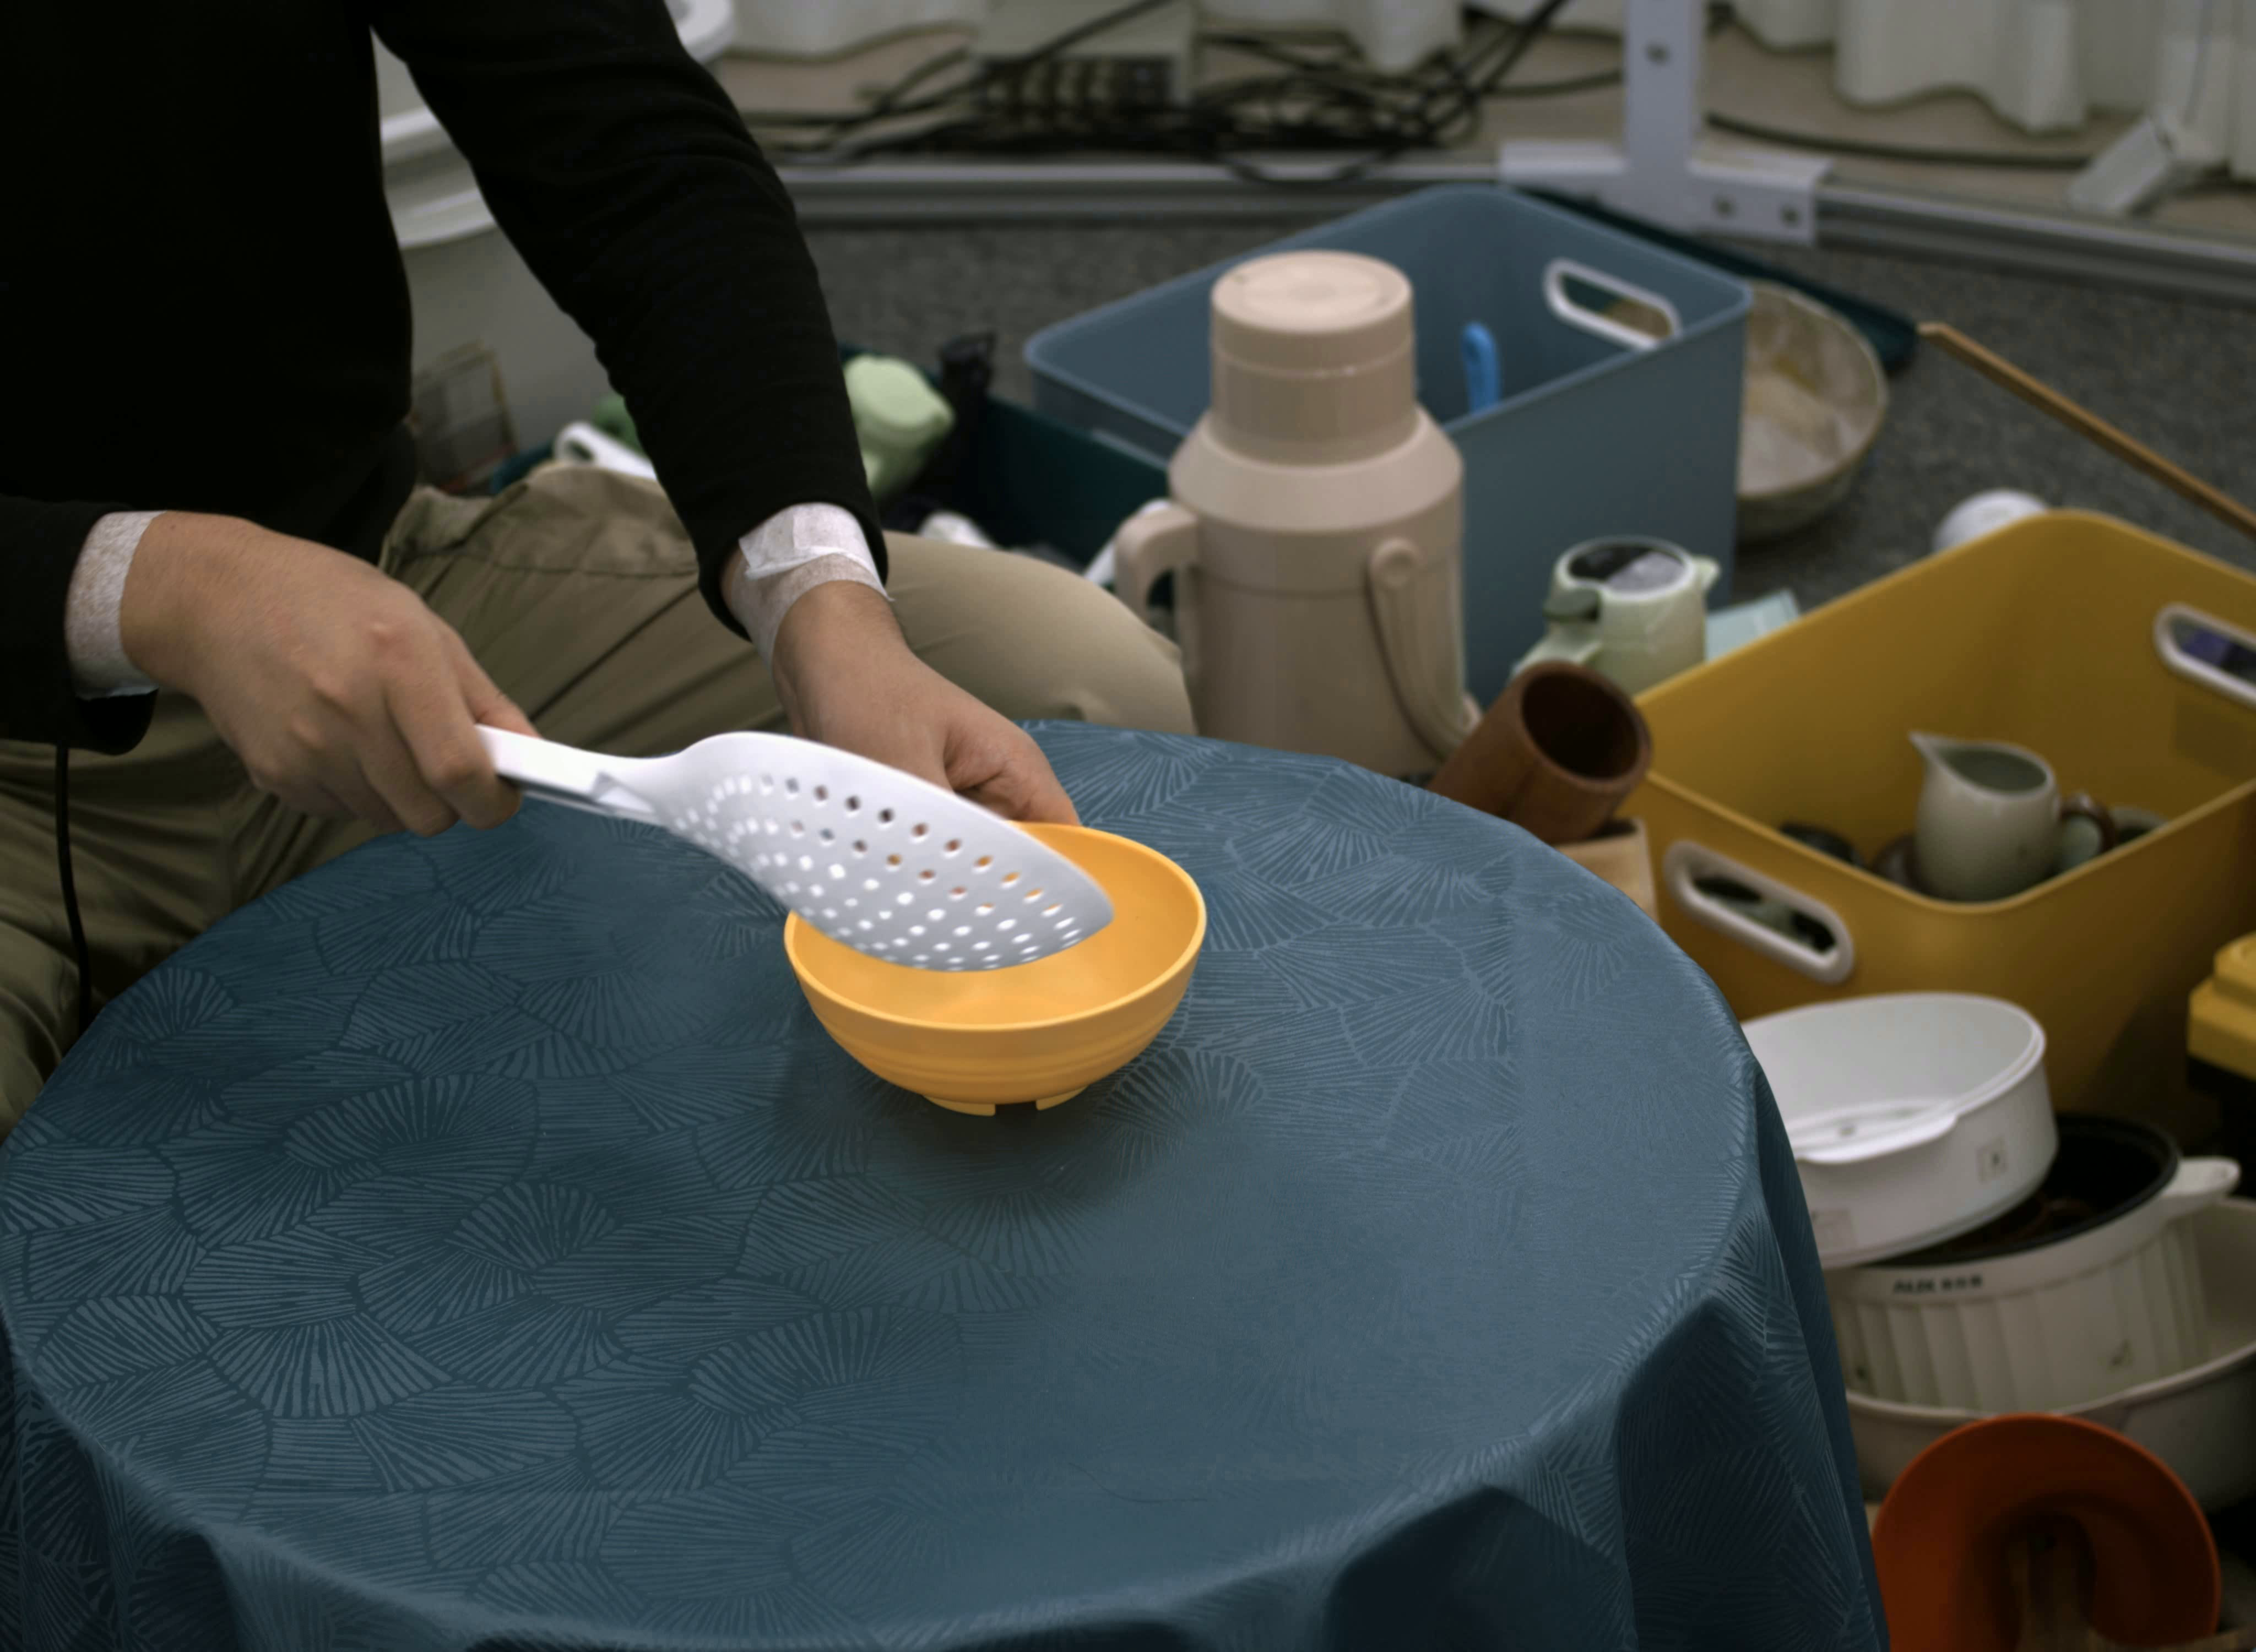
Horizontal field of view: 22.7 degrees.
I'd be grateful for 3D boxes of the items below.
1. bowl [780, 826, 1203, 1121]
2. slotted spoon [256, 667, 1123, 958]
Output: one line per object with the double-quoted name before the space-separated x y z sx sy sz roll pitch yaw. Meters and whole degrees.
"bowl" -0.046 0.059 1.925 0.144 0.059 0.147 0 27 0
"slotted spoon" -0.152 -0.014 1.805 0.348 0.135 0.046 18 74 37
